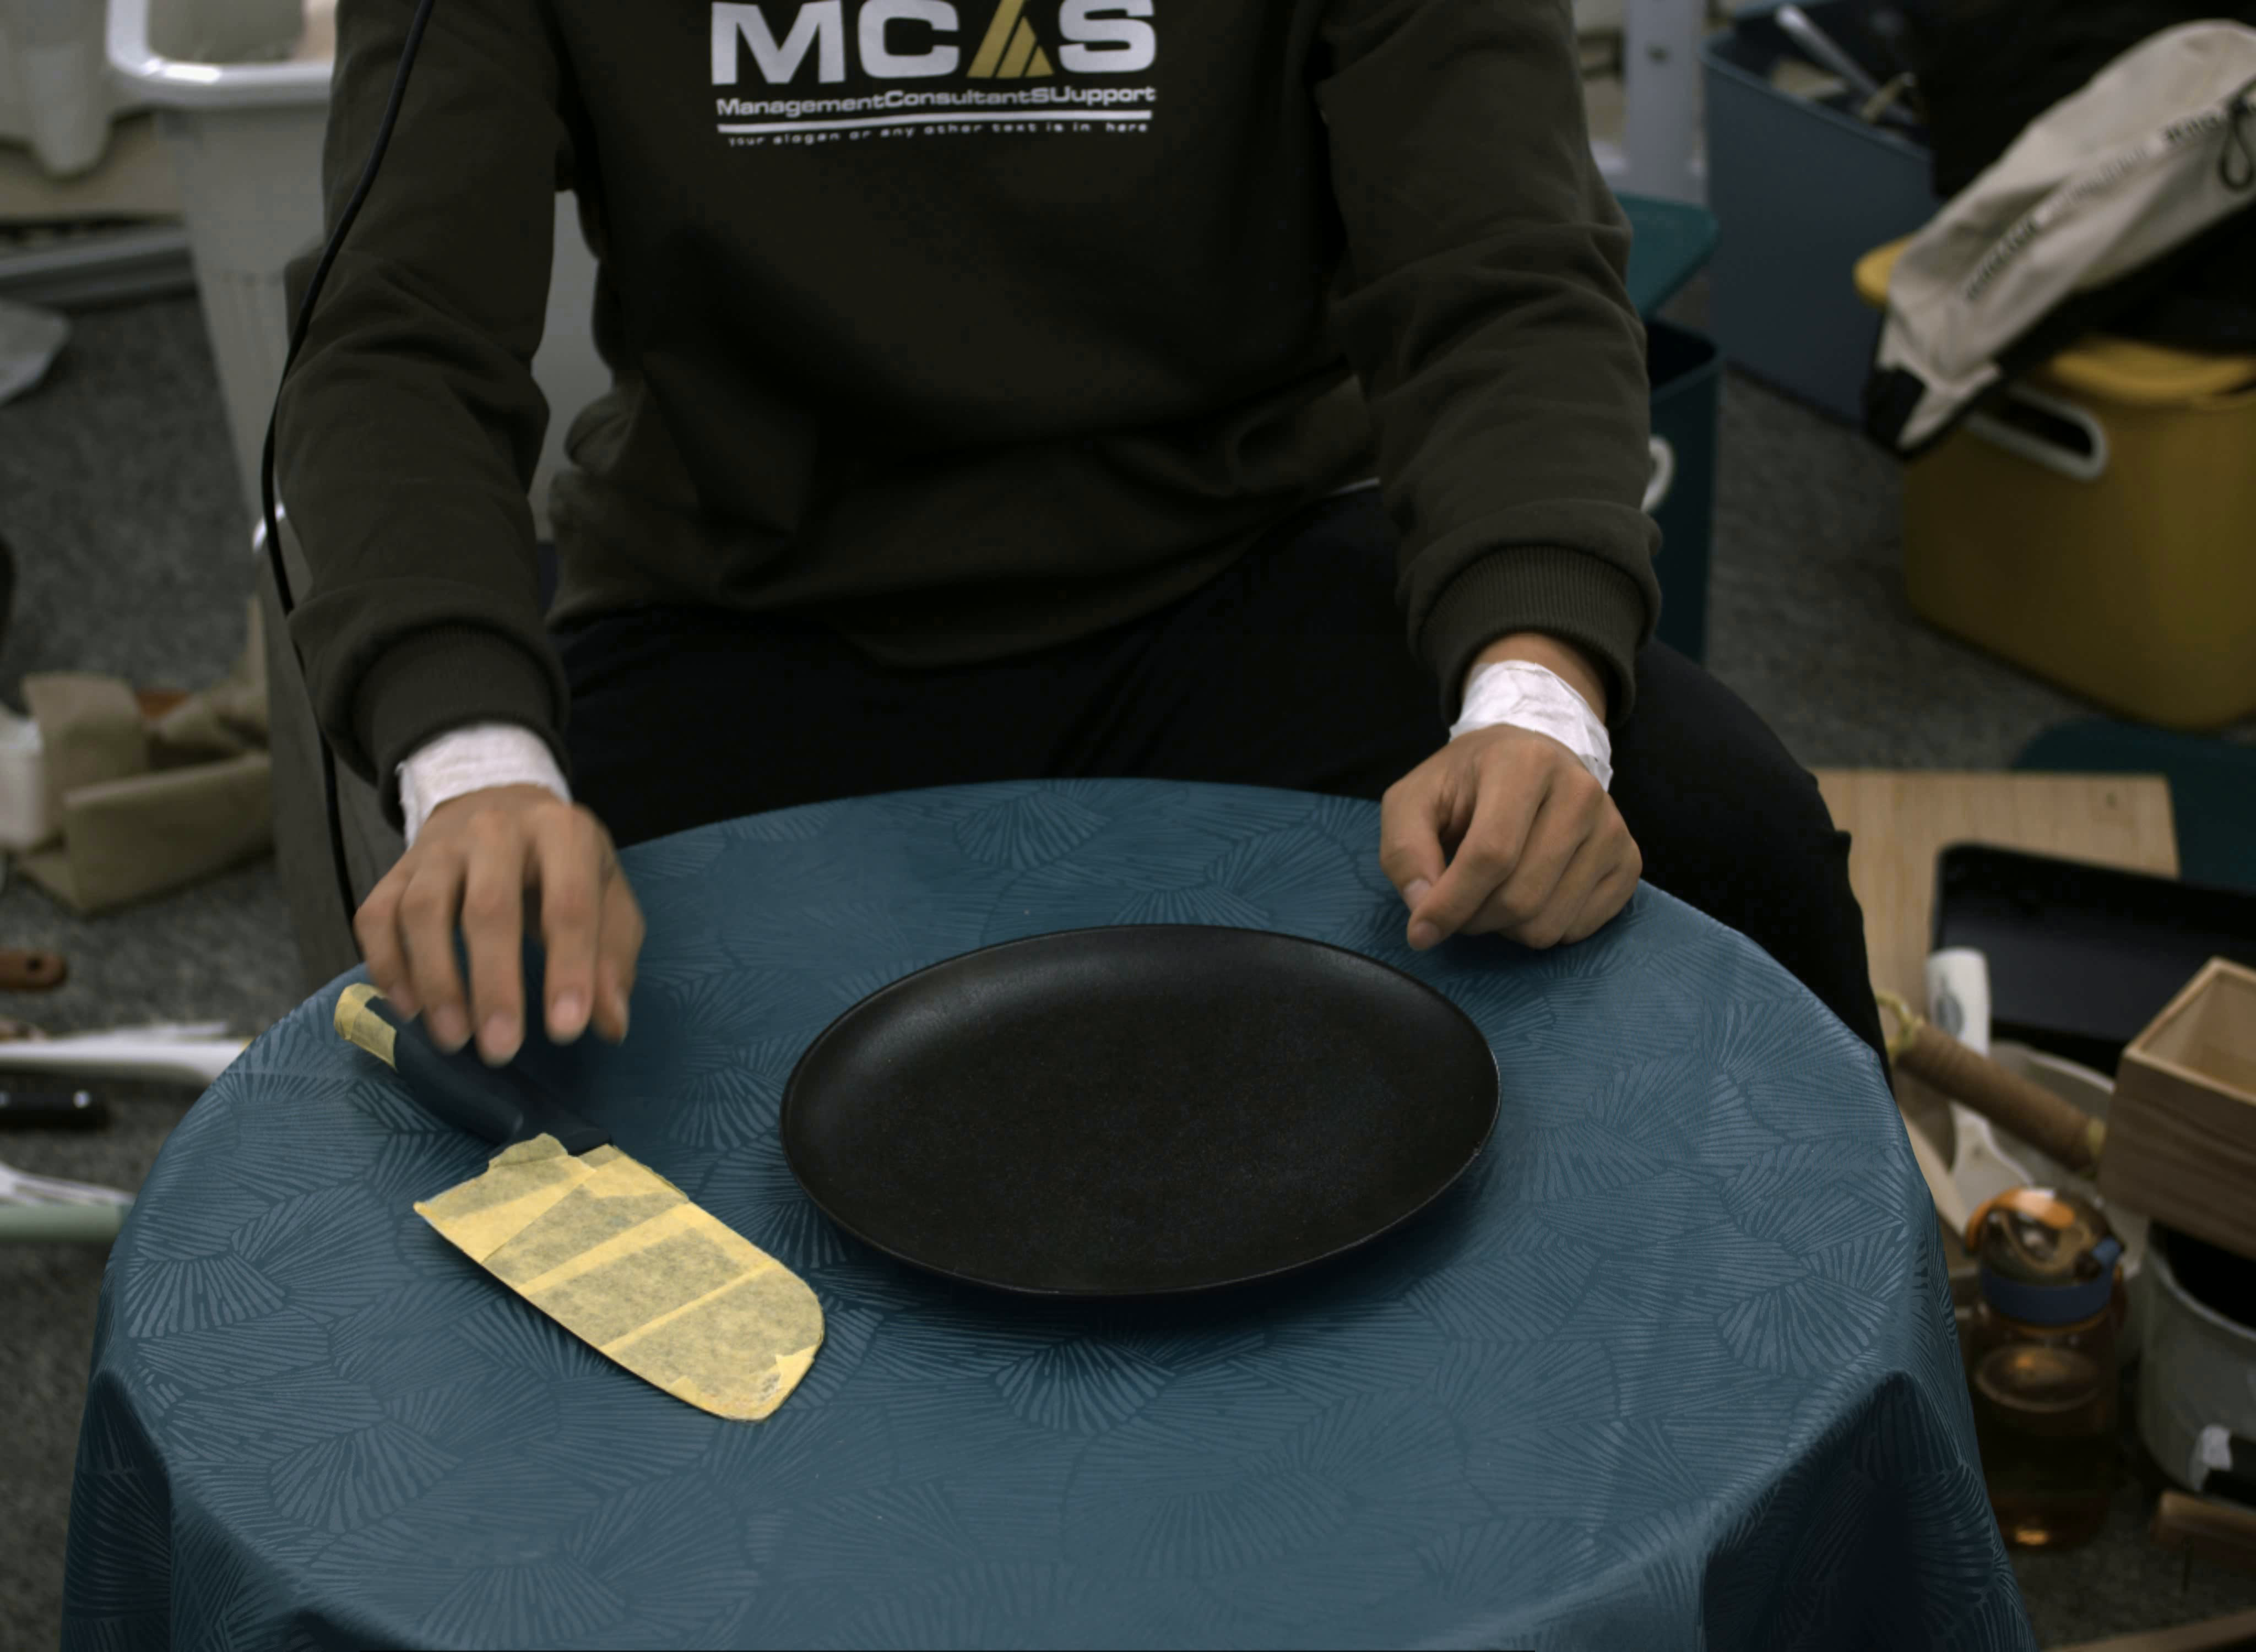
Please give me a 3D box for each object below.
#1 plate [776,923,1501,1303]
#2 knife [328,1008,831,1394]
[{"bbox_3d":[0.003,0.100,1.878,0.243,0.023,0.248,-2,27,1],"label":"plate"},{"bbox_3d":[-0.193,0.125,1.856,0.082,0.027,0.290,-19,33,-33],"label":"knife"}]
